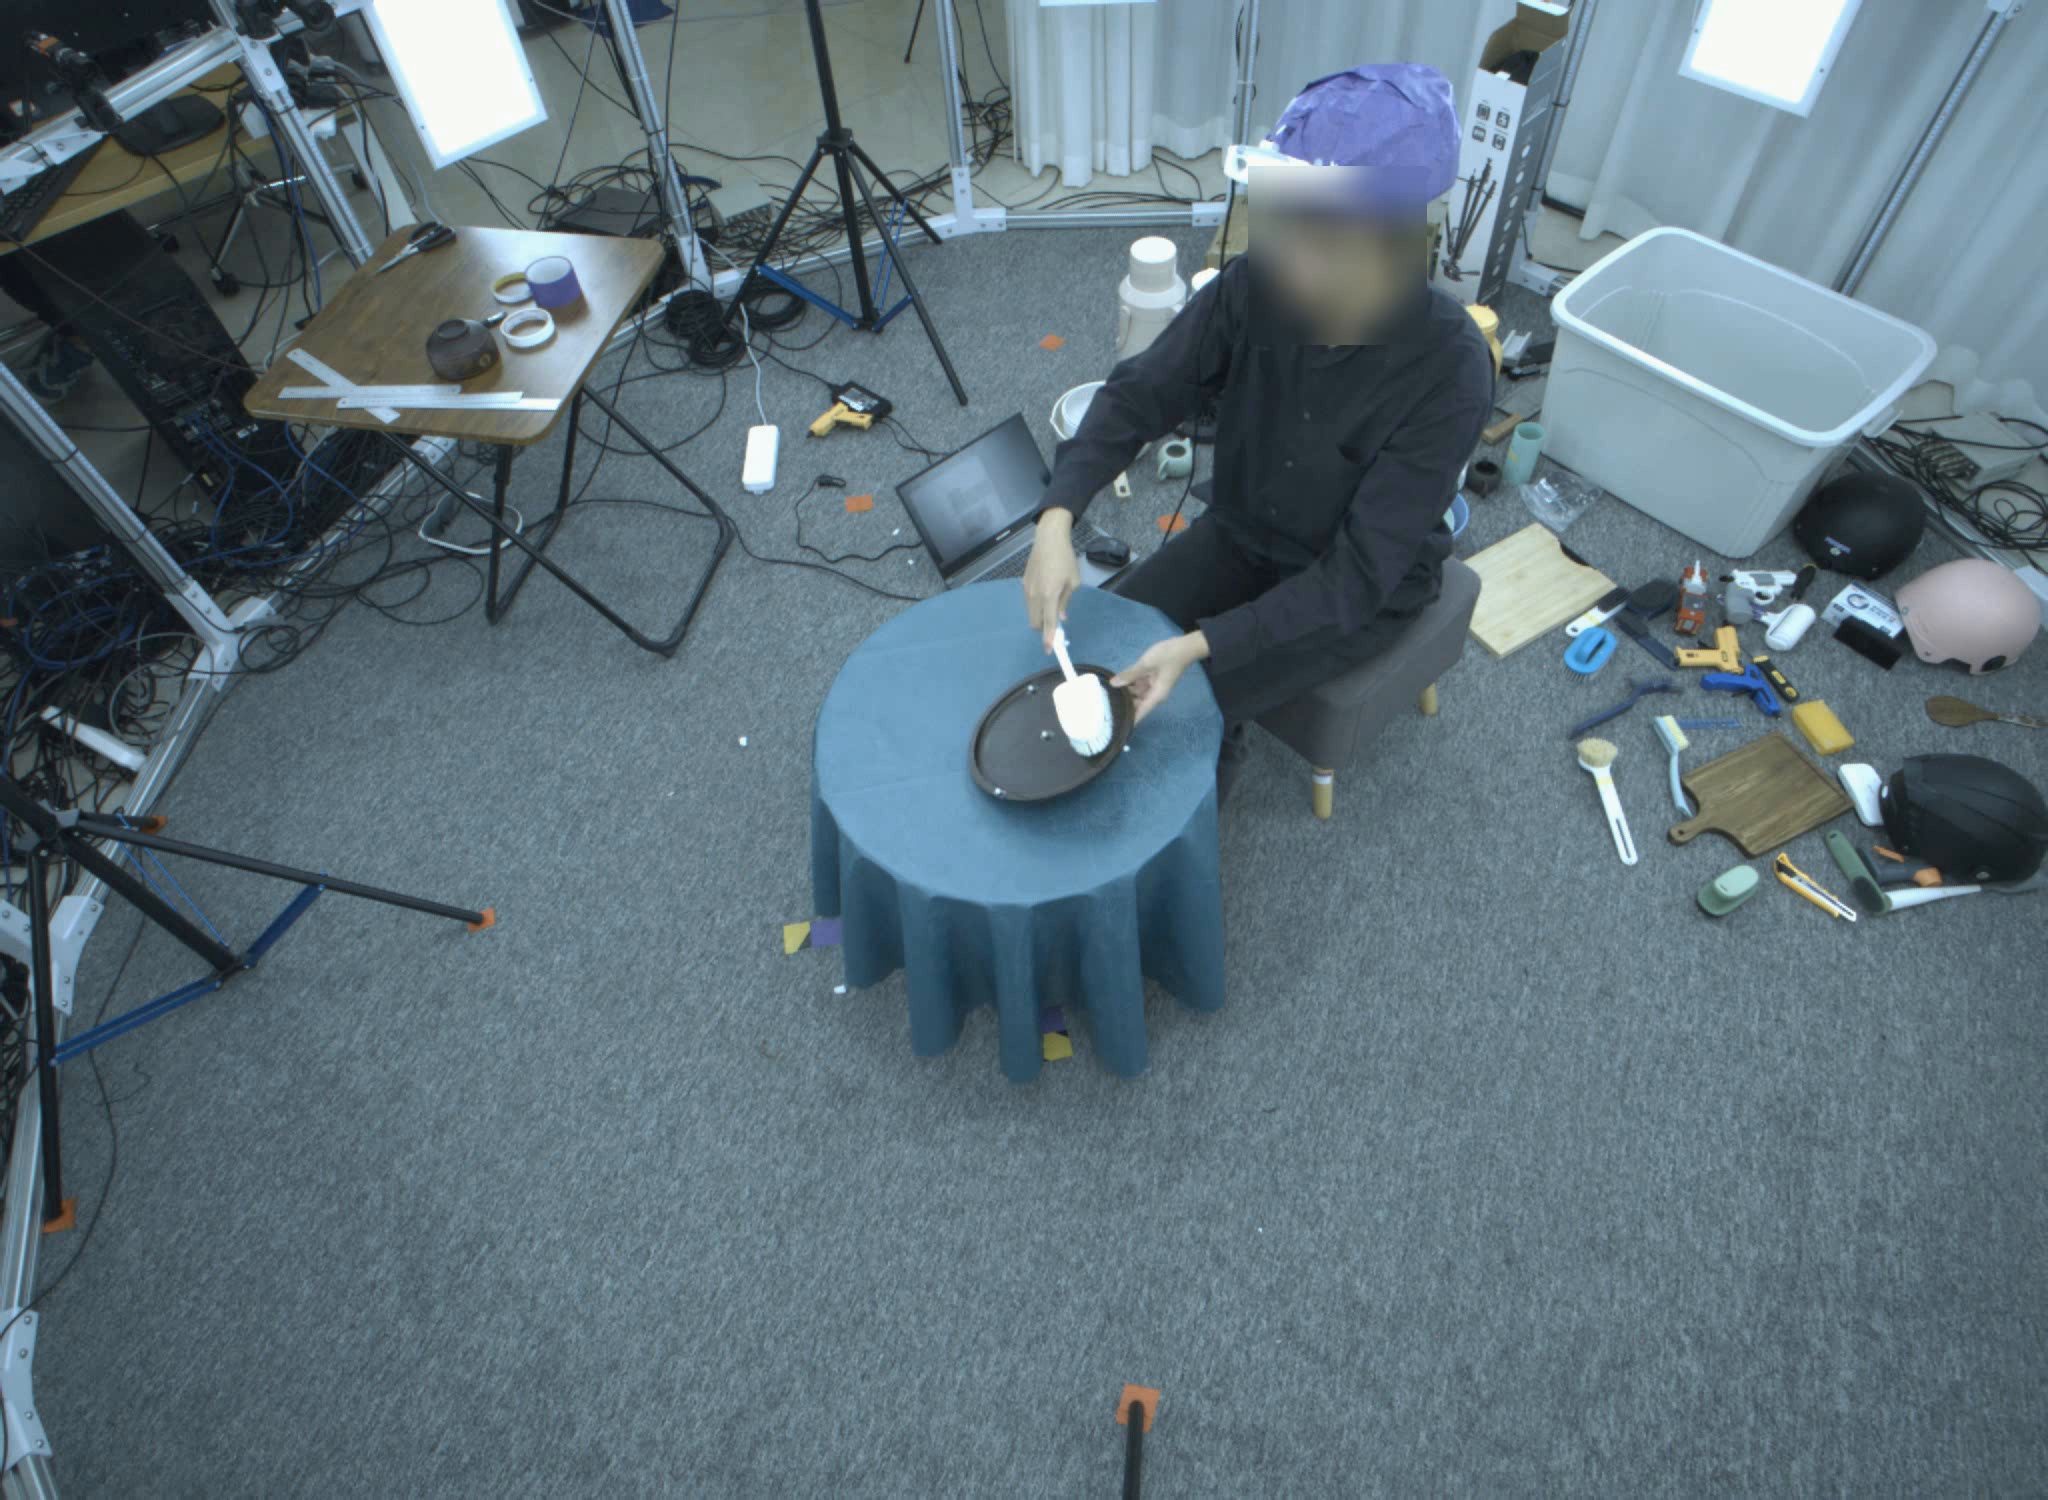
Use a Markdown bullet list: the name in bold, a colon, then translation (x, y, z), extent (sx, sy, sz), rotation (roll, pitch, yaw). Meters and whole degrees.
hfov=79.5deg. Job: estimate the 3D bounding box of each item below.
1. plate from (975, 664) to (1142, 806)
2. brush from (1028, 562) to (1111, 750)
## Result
- **plate**: translation (0.048, -0.022, 1.733), extent (0.252, 0.029, 0.252), rotation (-15, 44, 17)
- **brush**: translation (0.066, -0.134, 1.766), extent (0.084, 0.084, 0.320), rotation (-1, 55, -21)
